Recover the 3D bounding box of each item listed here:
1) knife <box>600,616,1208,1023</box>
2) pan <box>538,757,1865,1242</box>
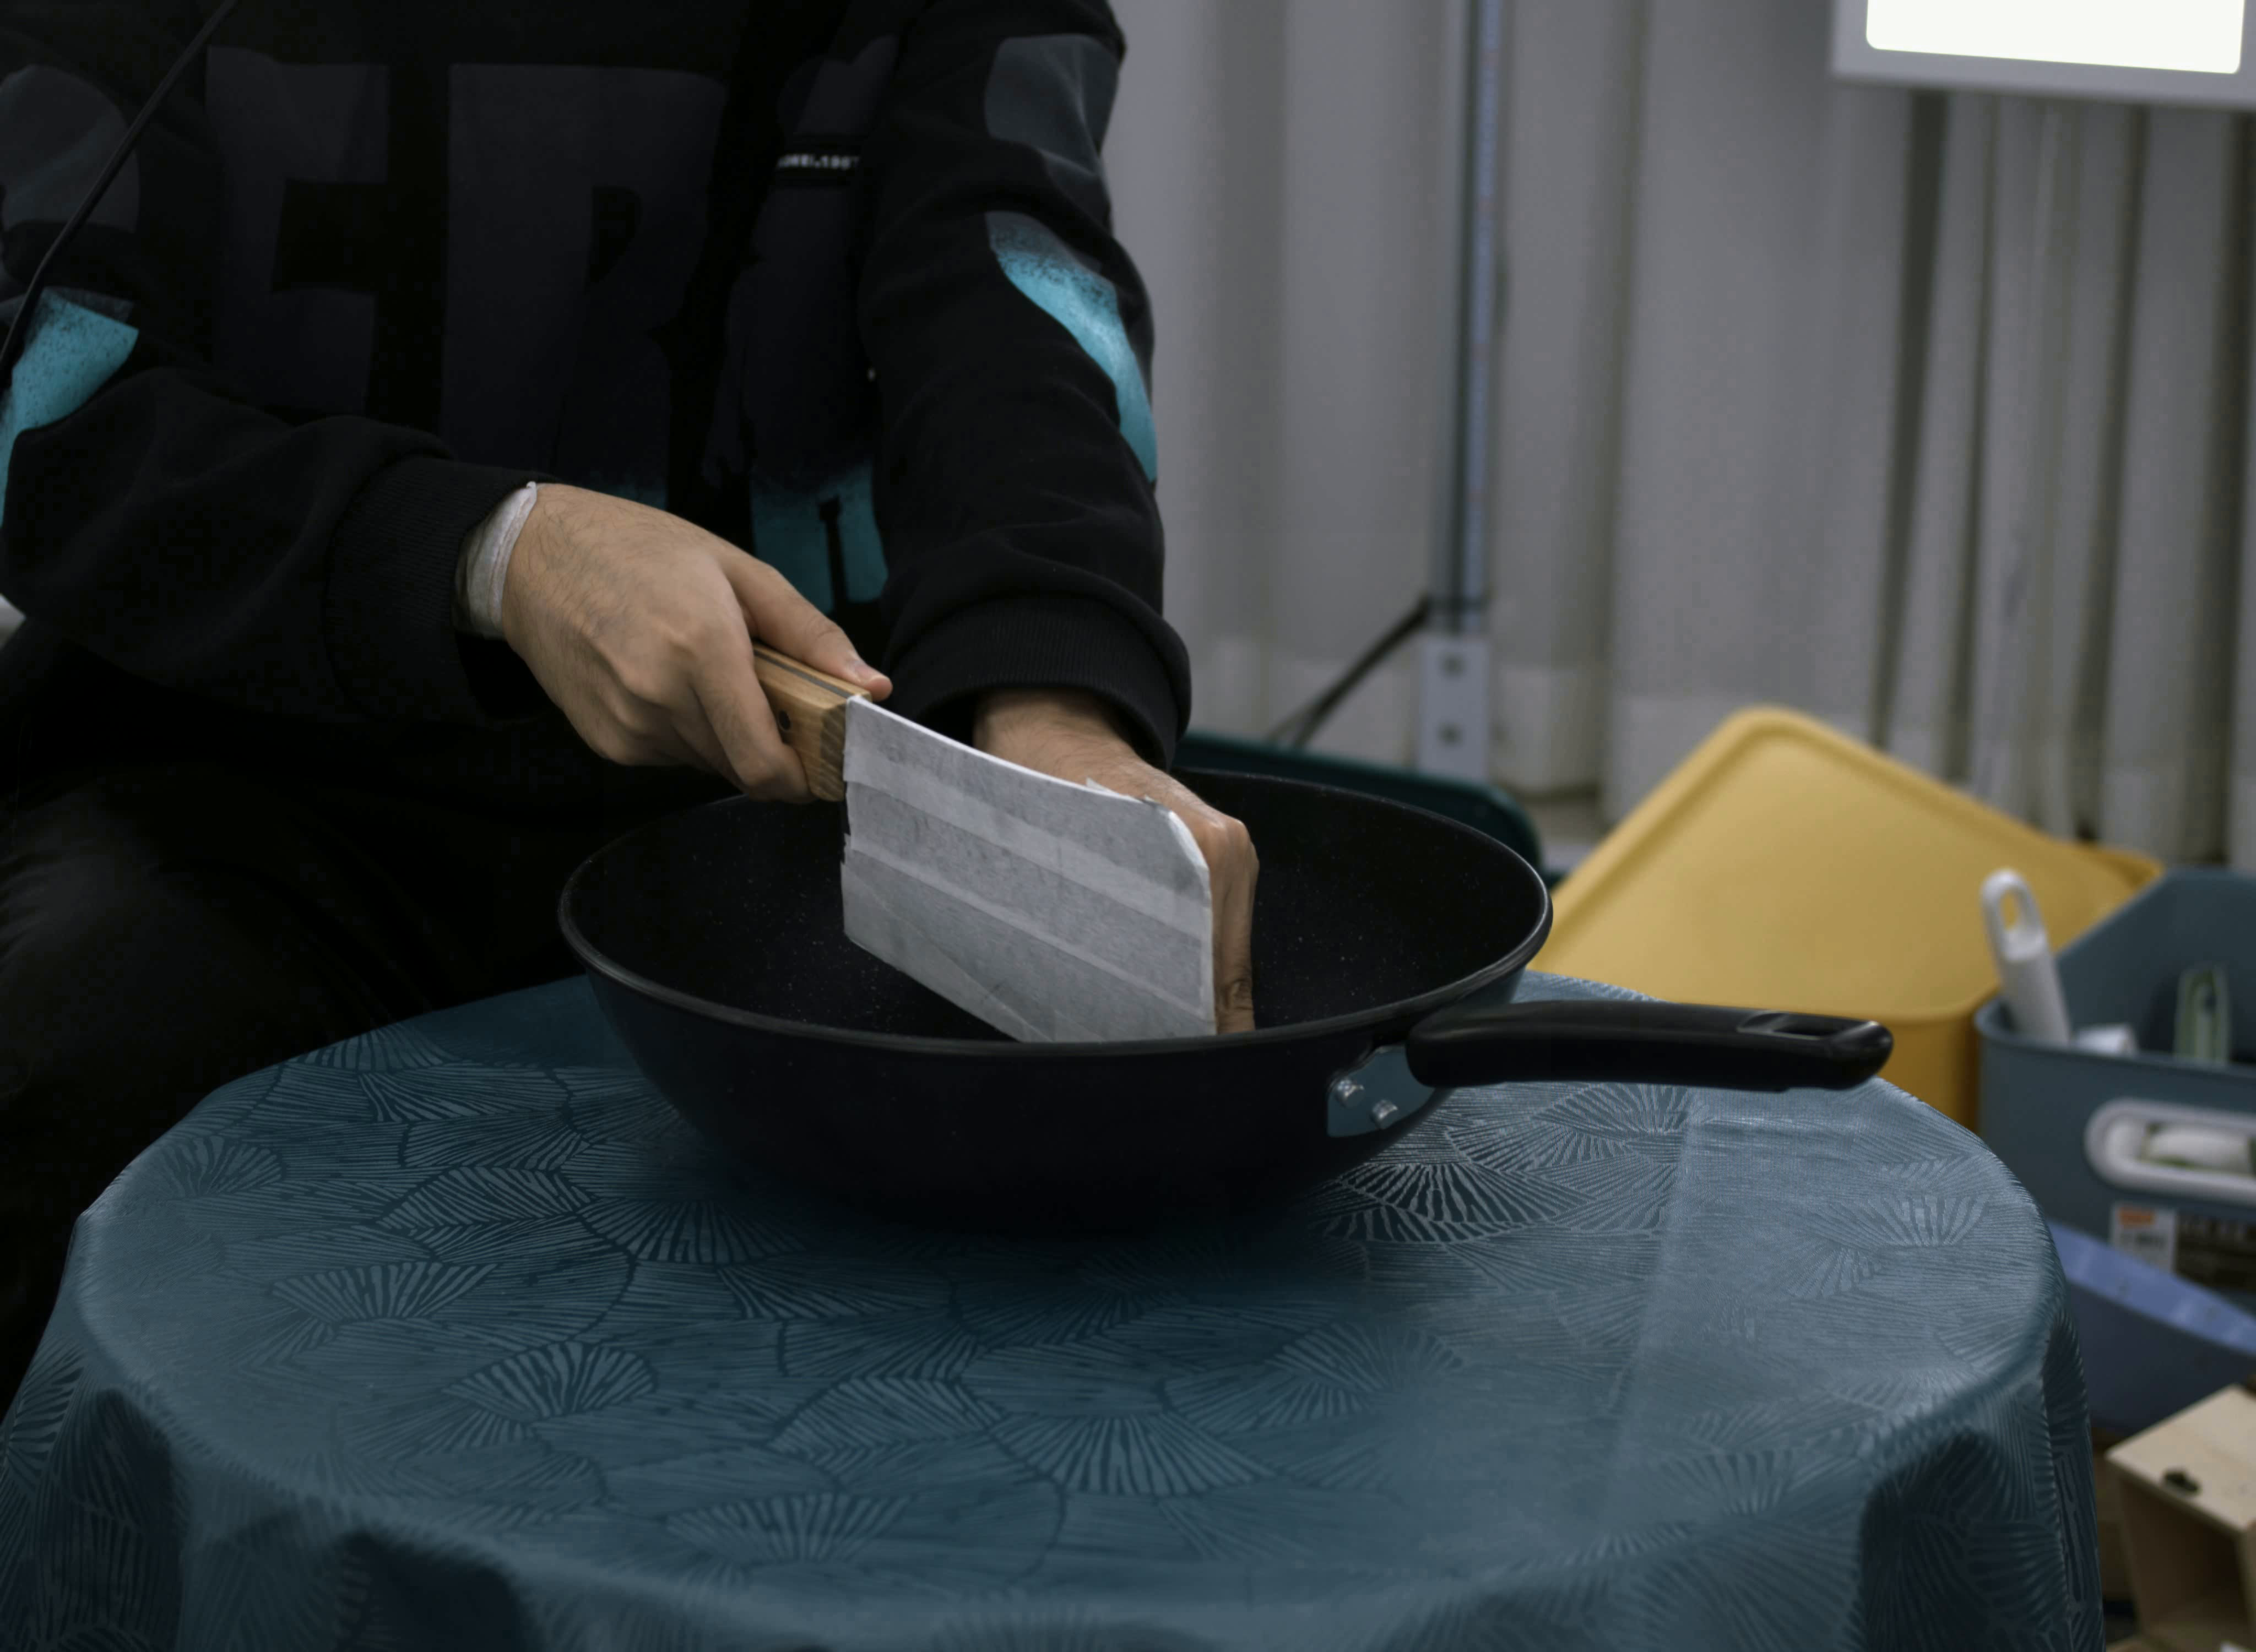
[{"bbox_3d":[-0.071,-0.004,1.654,0.022,0.115,0.311,-17,32,-36],"label":"knife"},{"bbox_3d":[0.030,0.066,1.592,0.311,0.112,0.470,-17,23,-42],"label":"pan"}]
